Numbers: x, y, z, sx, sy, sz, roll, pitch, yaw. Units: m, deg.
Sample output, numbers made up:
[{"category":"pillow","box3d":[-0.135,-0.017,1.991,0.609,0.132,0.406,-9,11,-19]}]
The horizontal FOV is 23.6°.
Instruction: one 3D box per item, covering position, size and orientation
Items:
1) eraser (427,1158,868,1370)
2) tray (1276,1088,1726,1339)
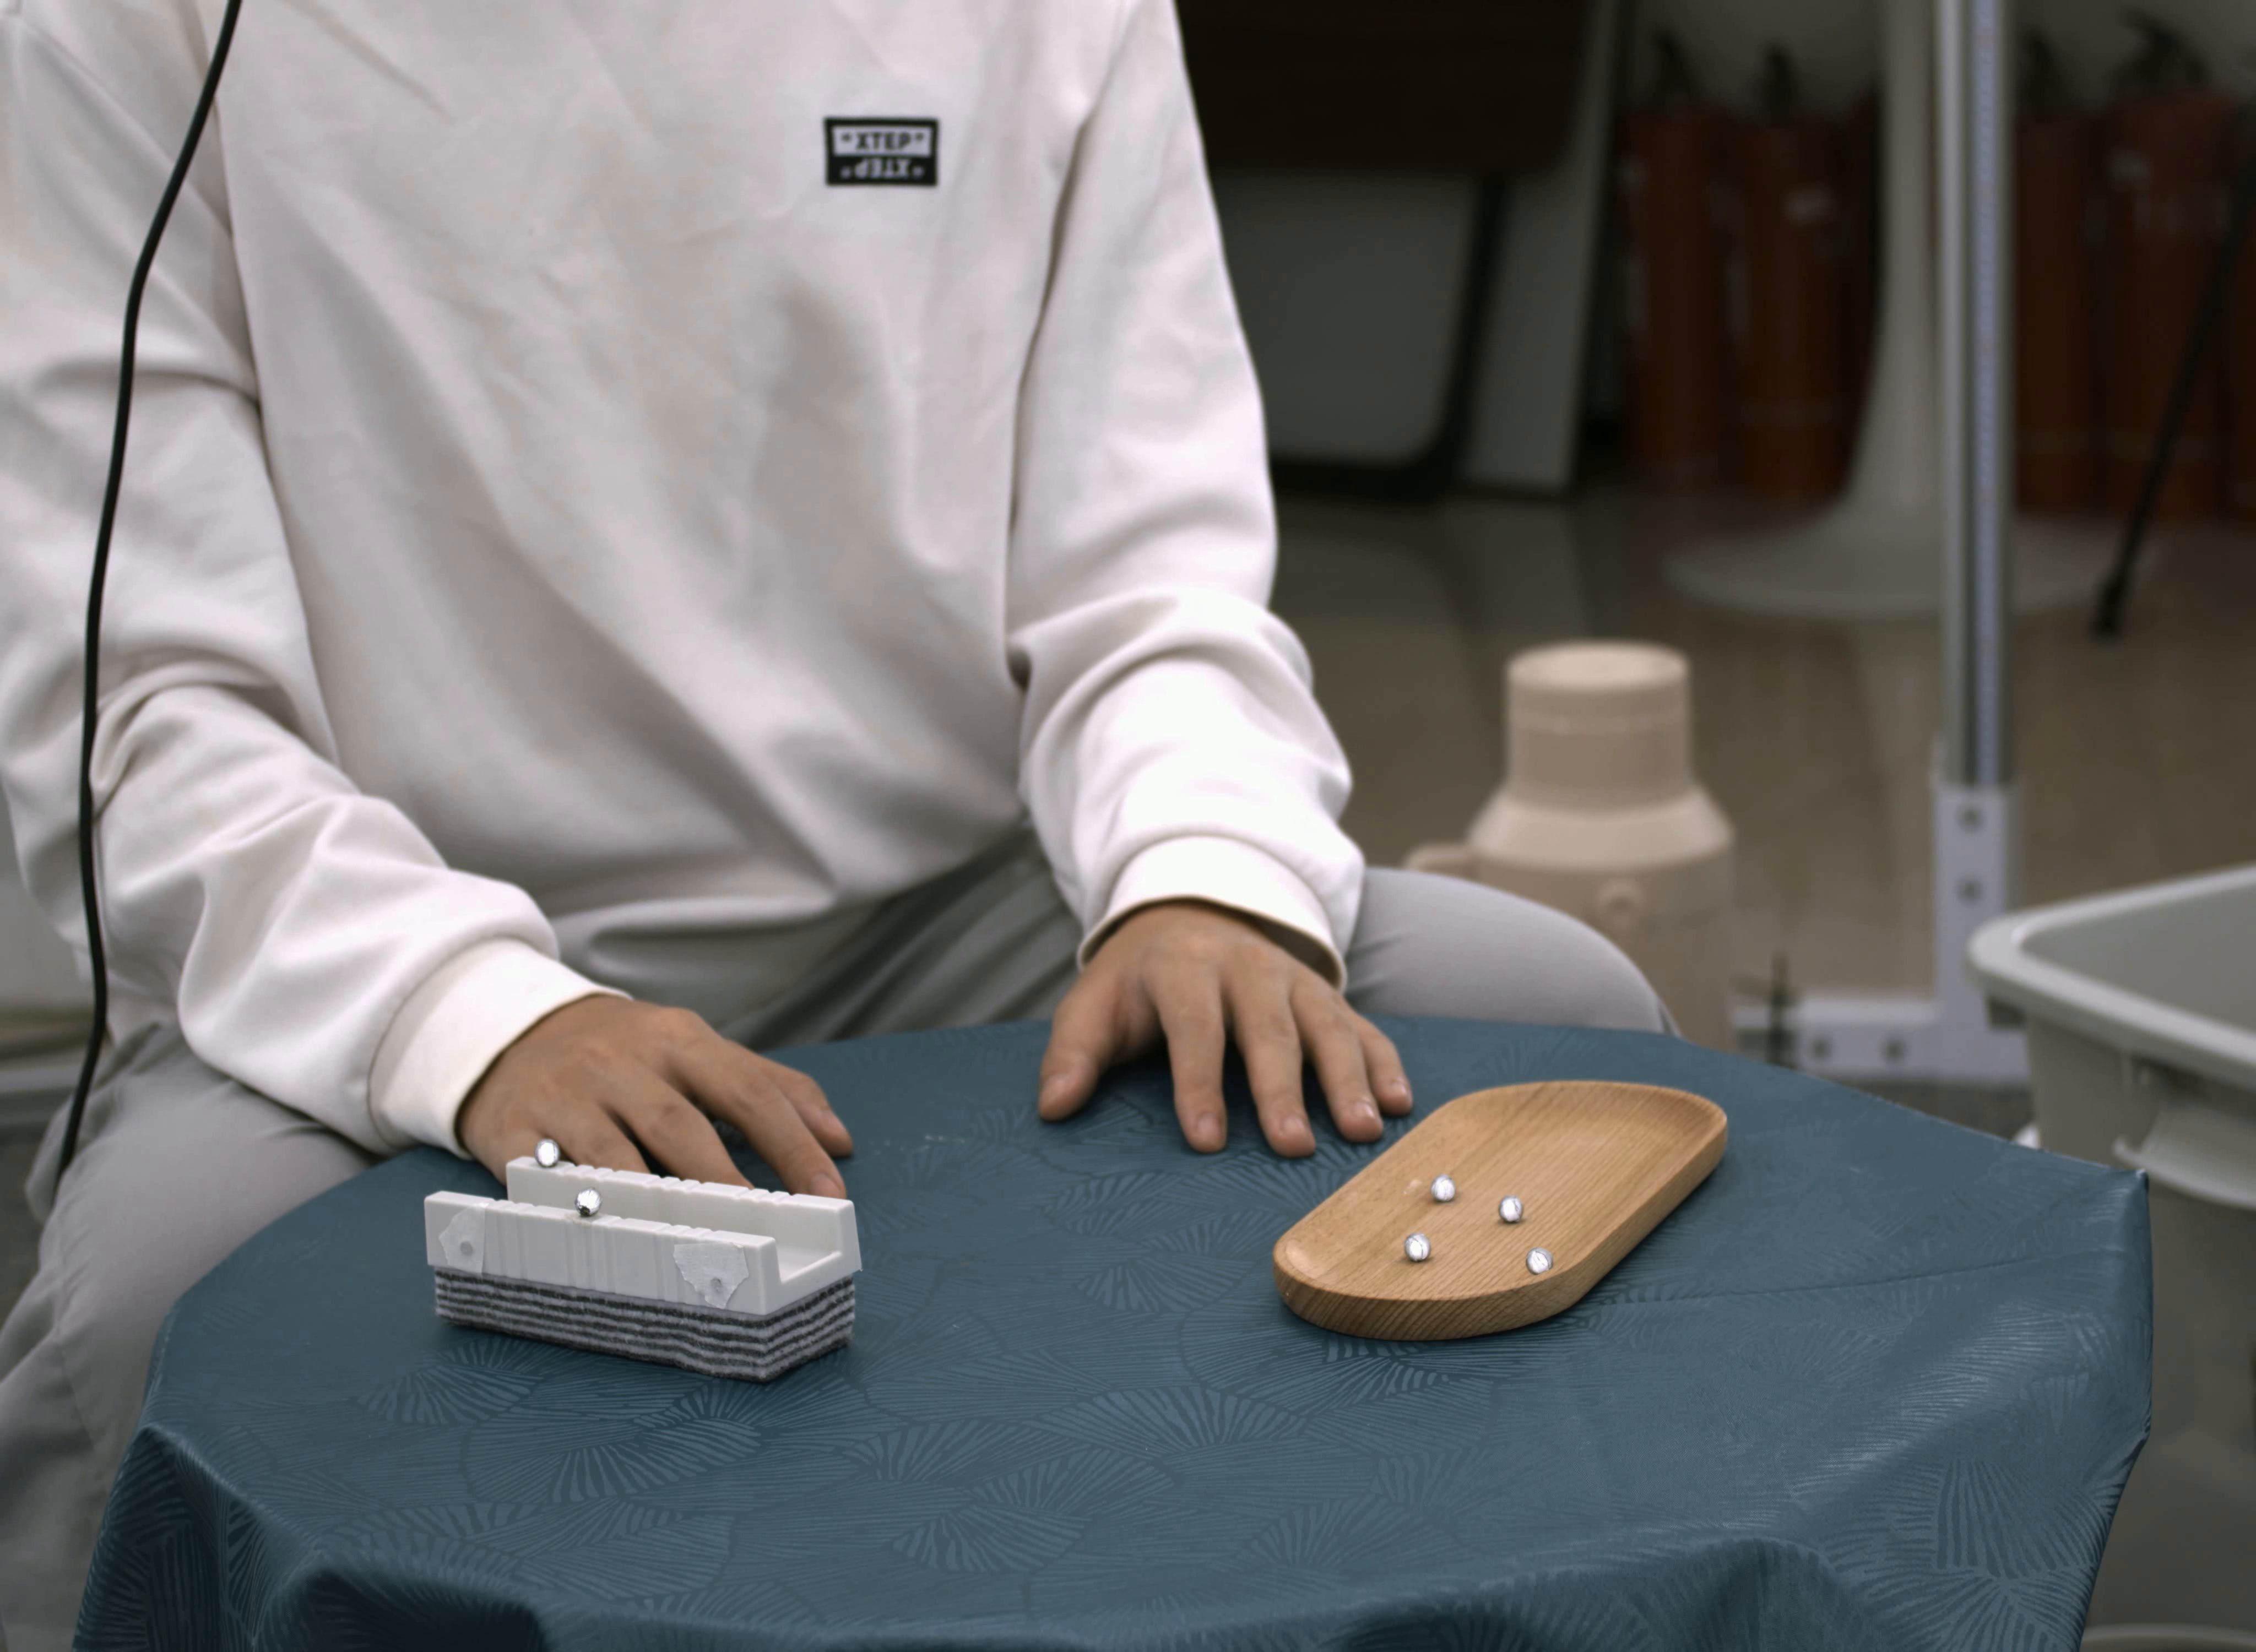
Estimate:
[{"category":"eraser","box3d":[-0.147,0.135,1.659,0.135,0.047,0.049,4,10,32]},{"category":"tray","box3d":[0.121,0.121,1.711,0.102,0.020,0.228,3,13,23]}]
